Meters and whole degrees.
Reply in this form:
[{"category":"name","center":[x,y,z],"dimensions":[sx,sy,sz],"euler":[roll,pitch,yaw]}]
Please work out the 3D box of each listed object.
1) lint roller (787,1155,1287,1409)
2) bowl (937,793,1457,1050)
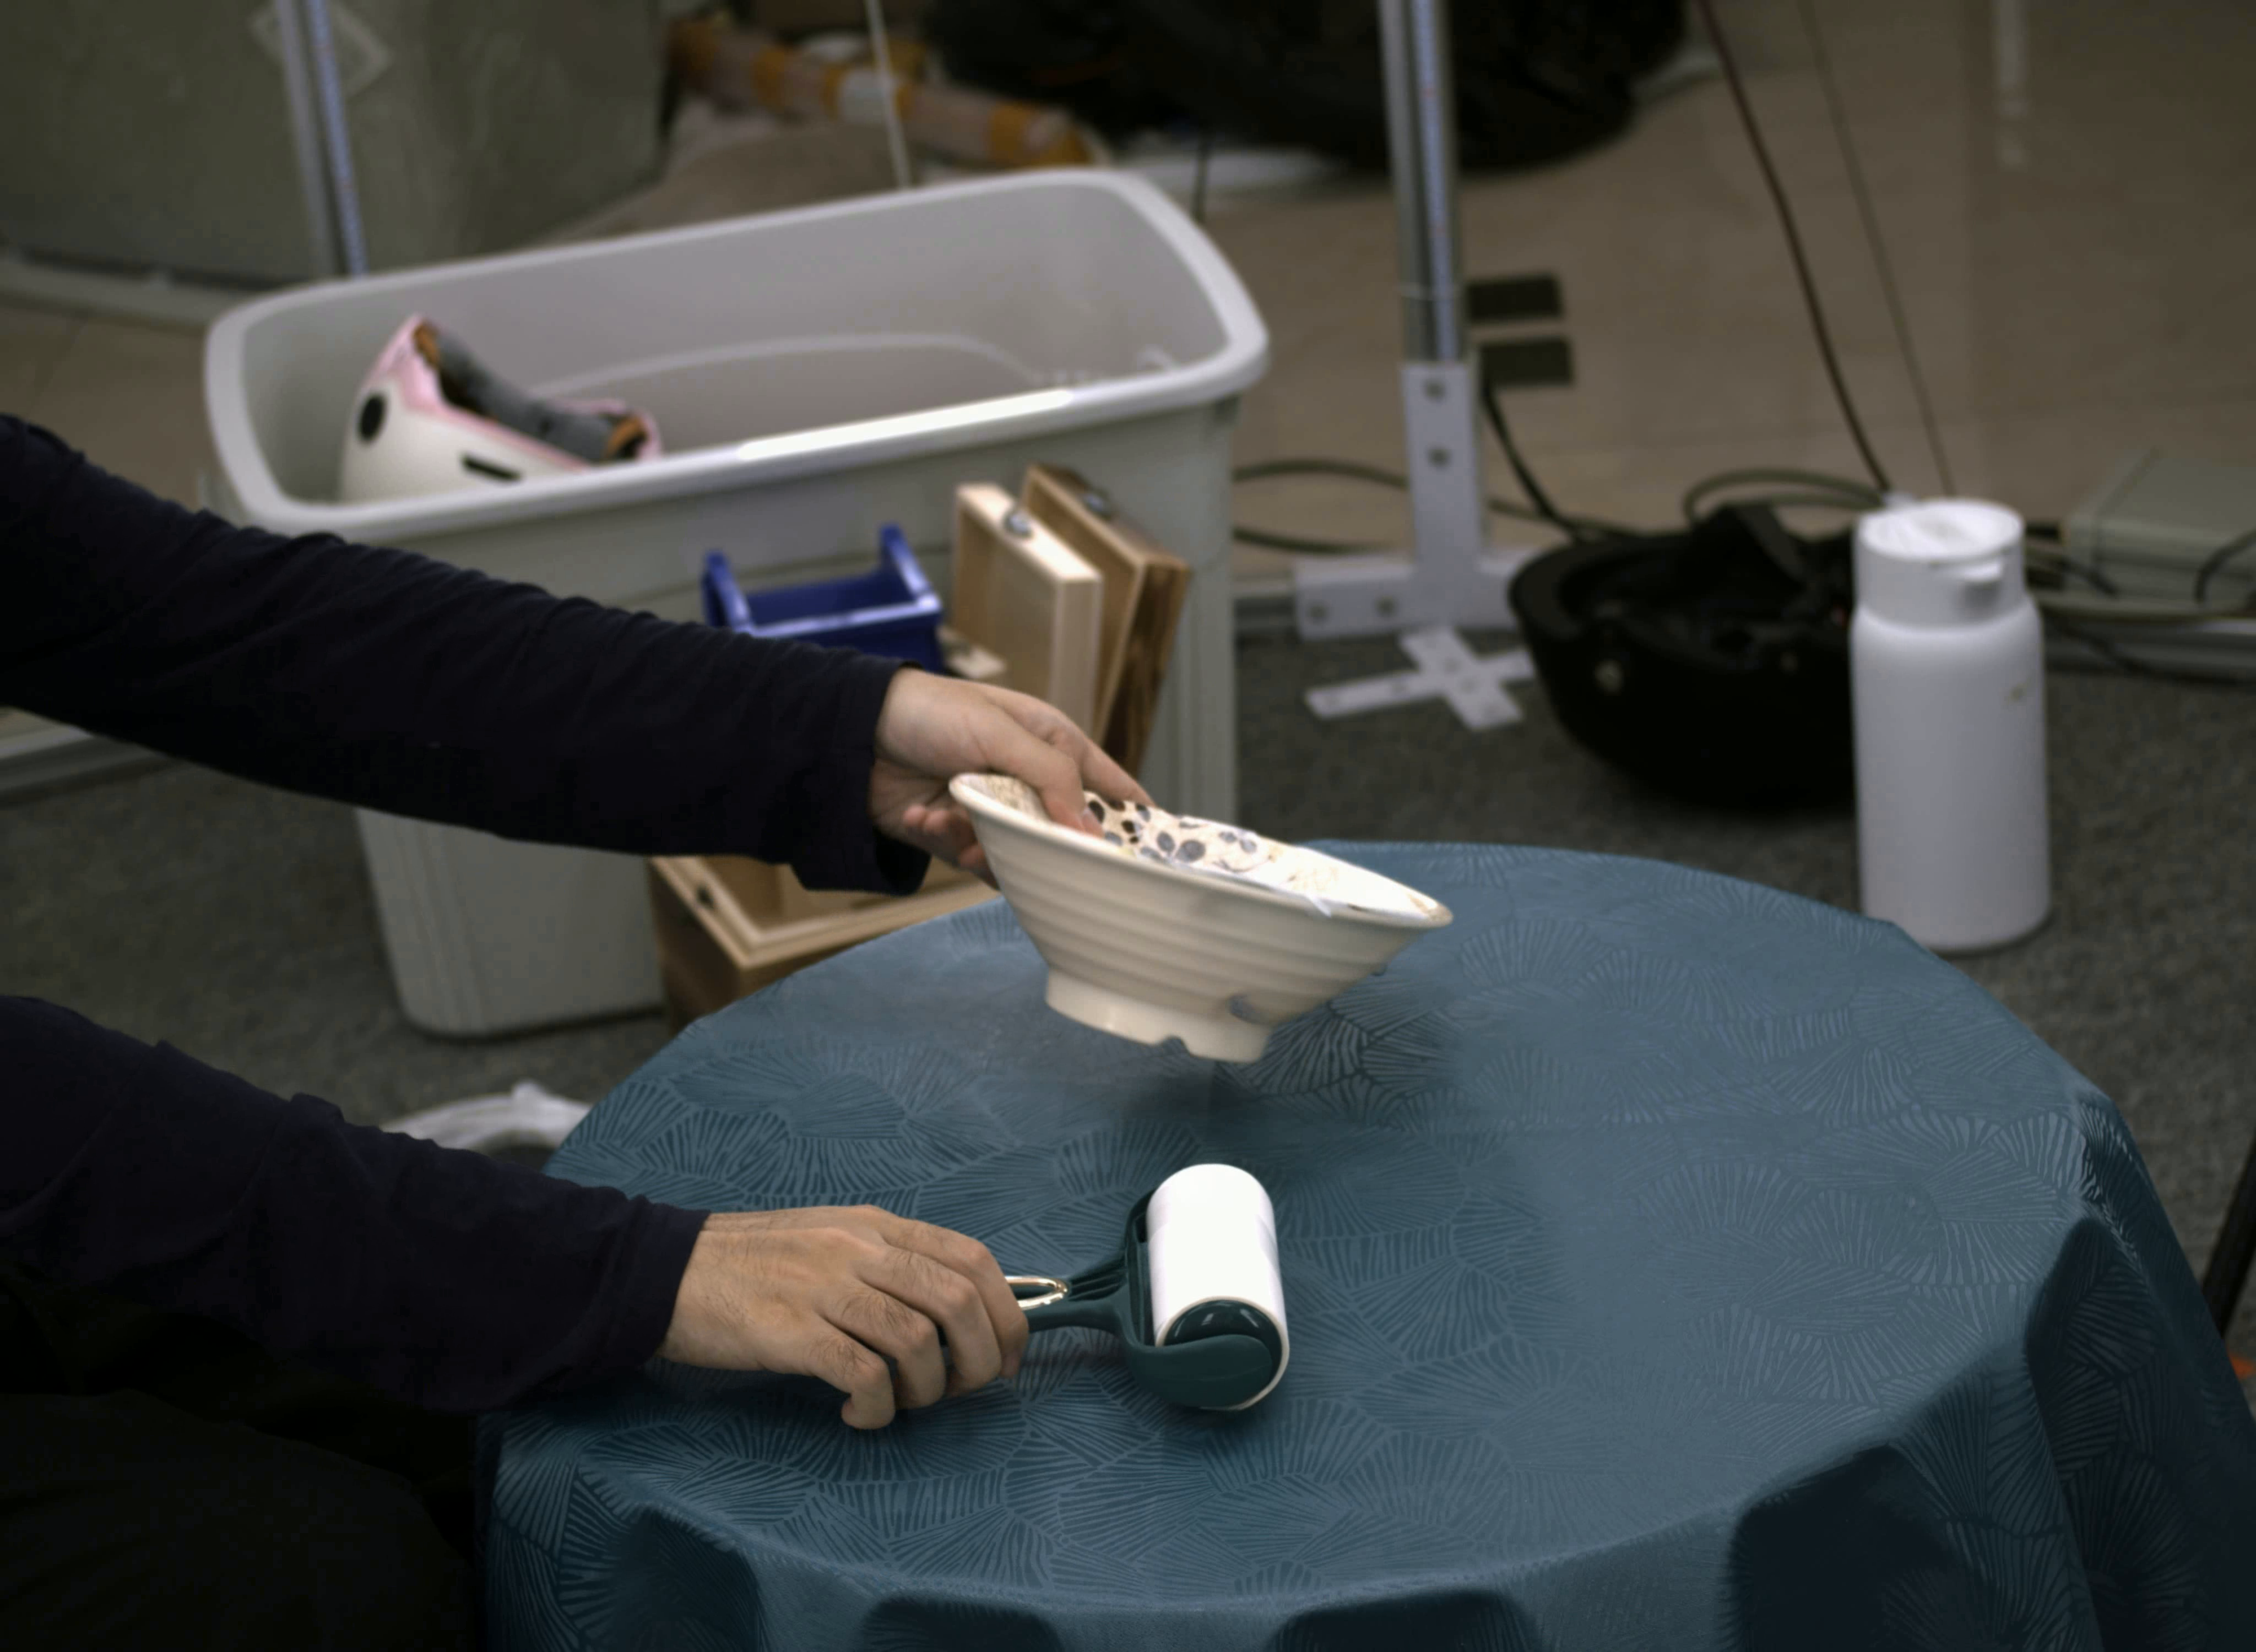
[{"category":"lint roller","center":[-0.035,0.169,2.032],"dimensions":[0.180,0.049,0.132],"euler":[-5,25,1]},{"category":"bowl","center":[0.024,0.041,2.212],"dimensions":[0.203,0.078,0.202],"euler":[5,9,-1]}]
